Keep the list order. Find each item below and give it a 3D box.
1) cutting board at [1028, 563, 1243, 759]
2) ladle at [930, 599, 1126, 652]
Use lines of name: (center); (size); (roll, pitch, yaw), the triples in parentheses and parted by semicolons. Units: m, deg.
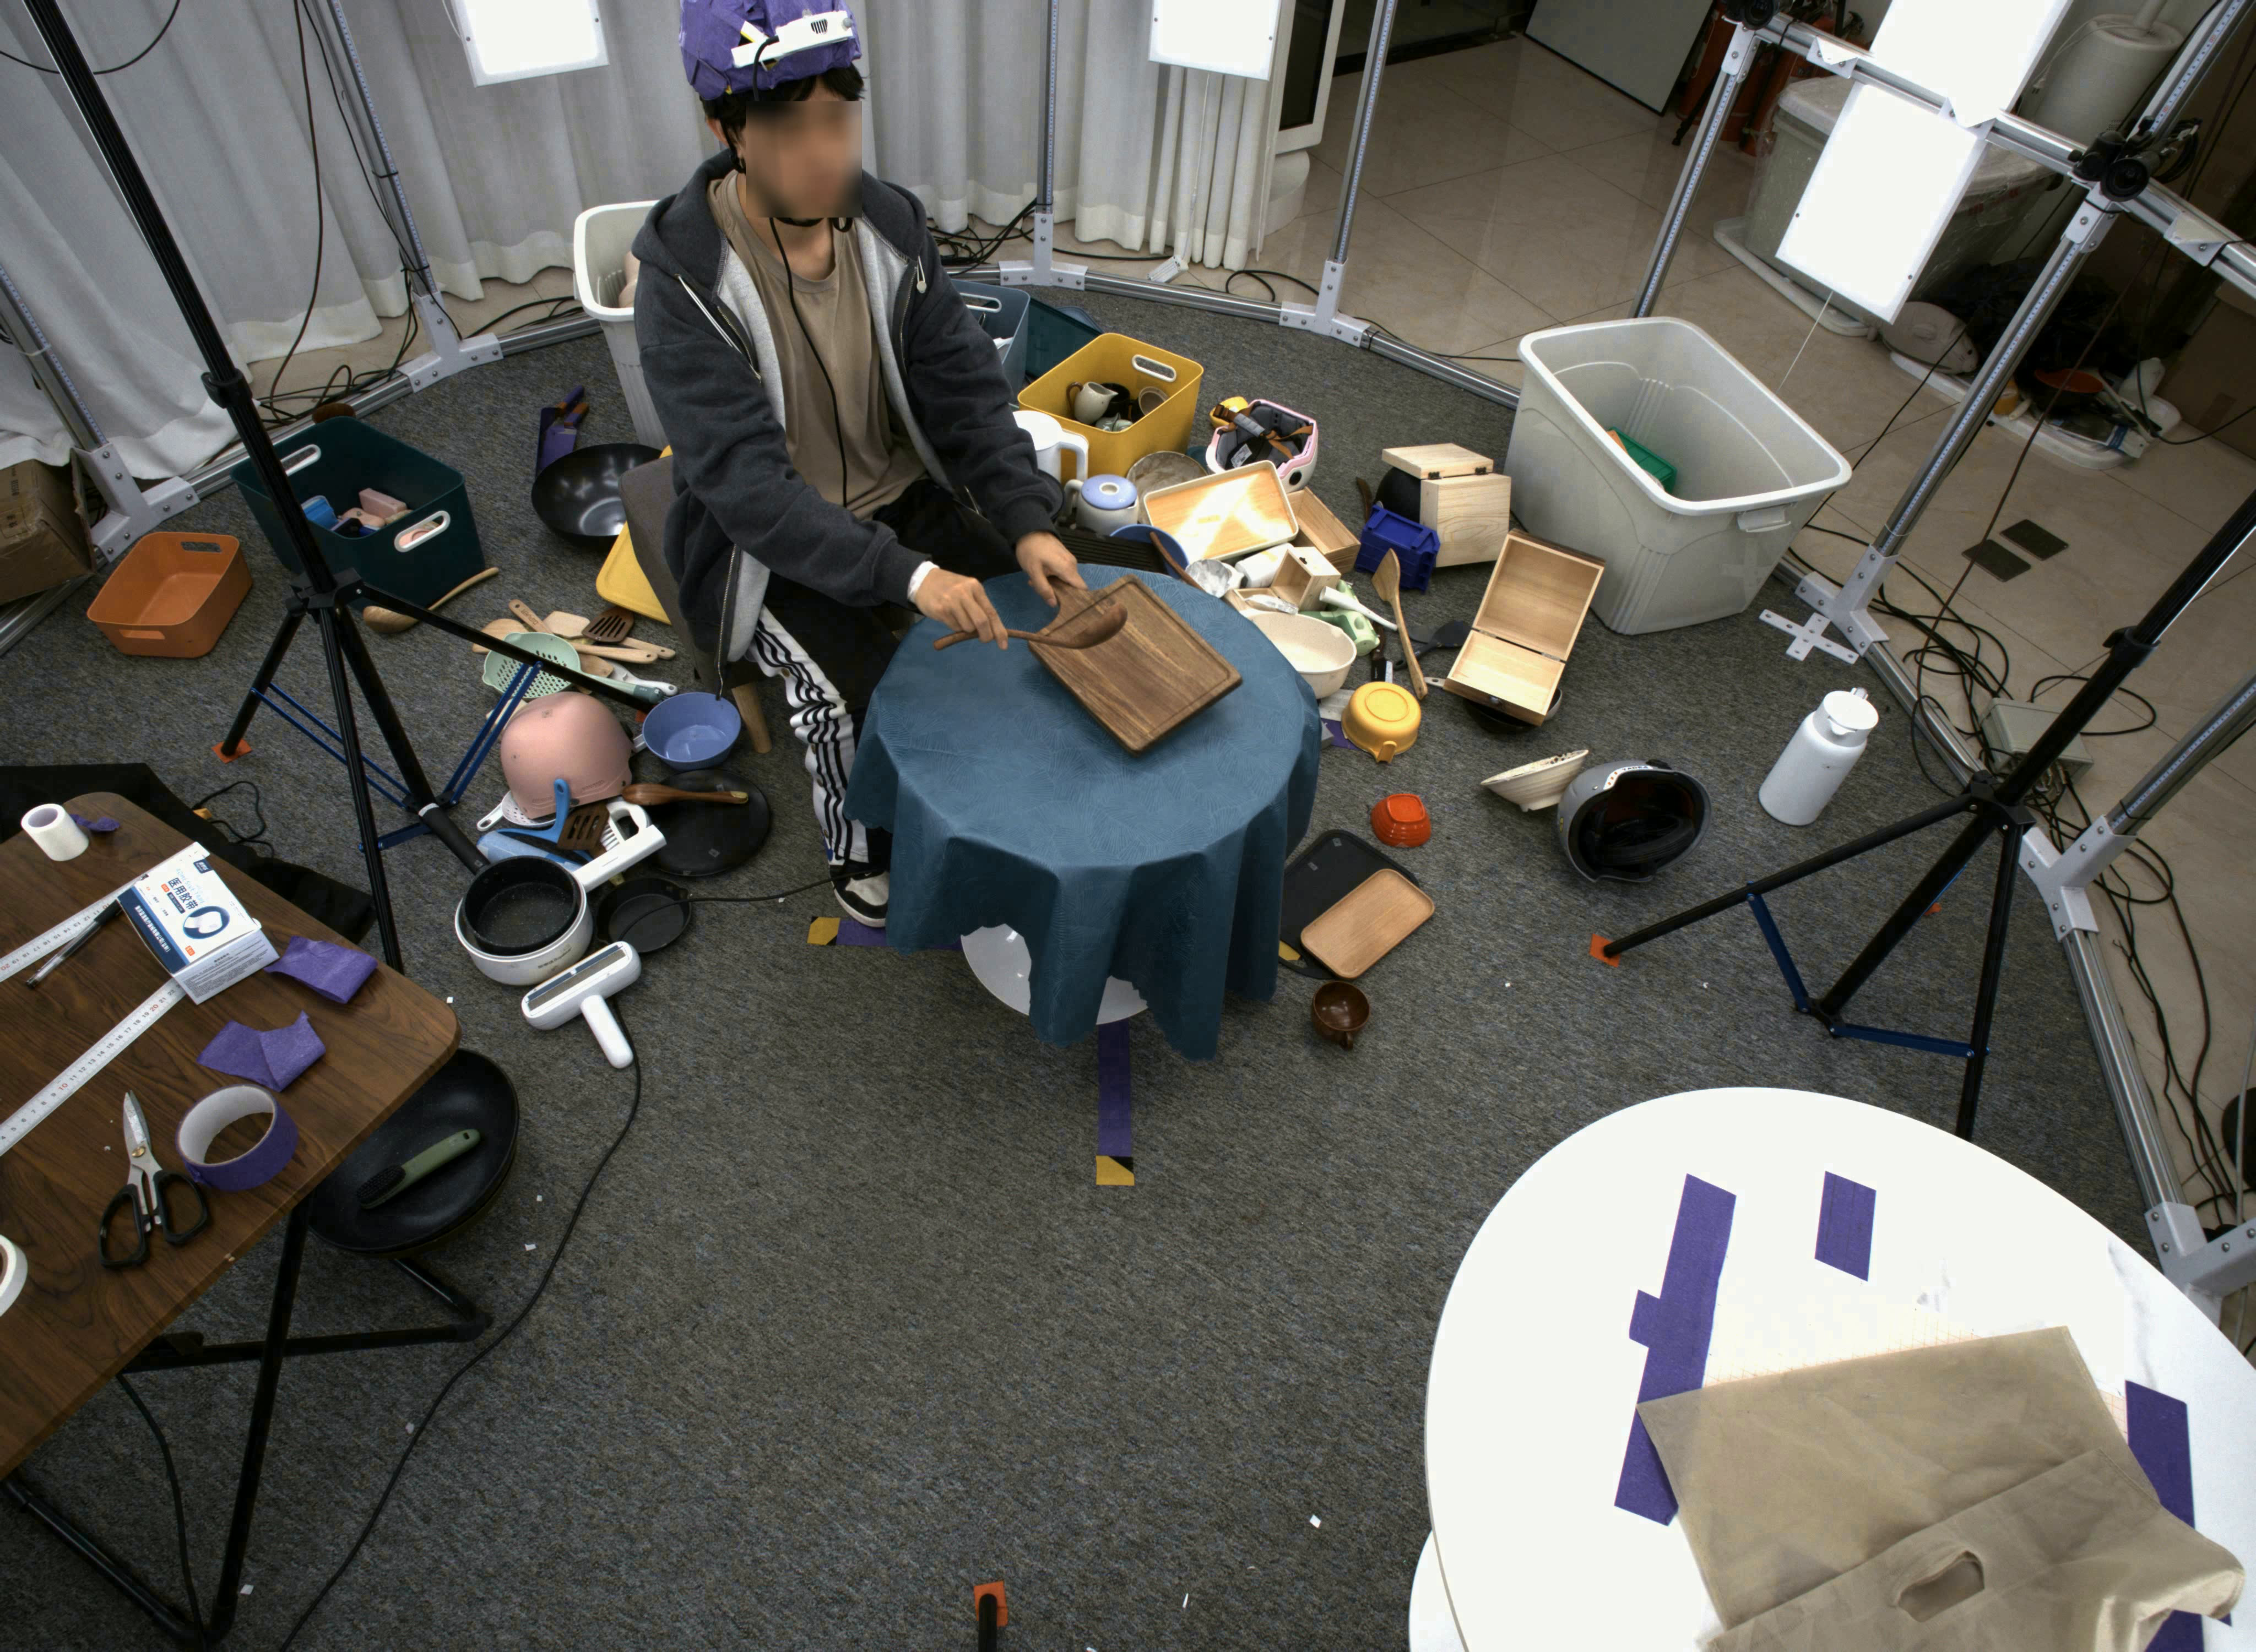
cutting board: (-0.022, -0.263, 1.828); (0.202, 0.023, 0.358); (-35, 64, -18)
ladle: (-0.132, -0.264, 1.696); (0.260, 0.076, 0.065); (-1, 90, 3)
